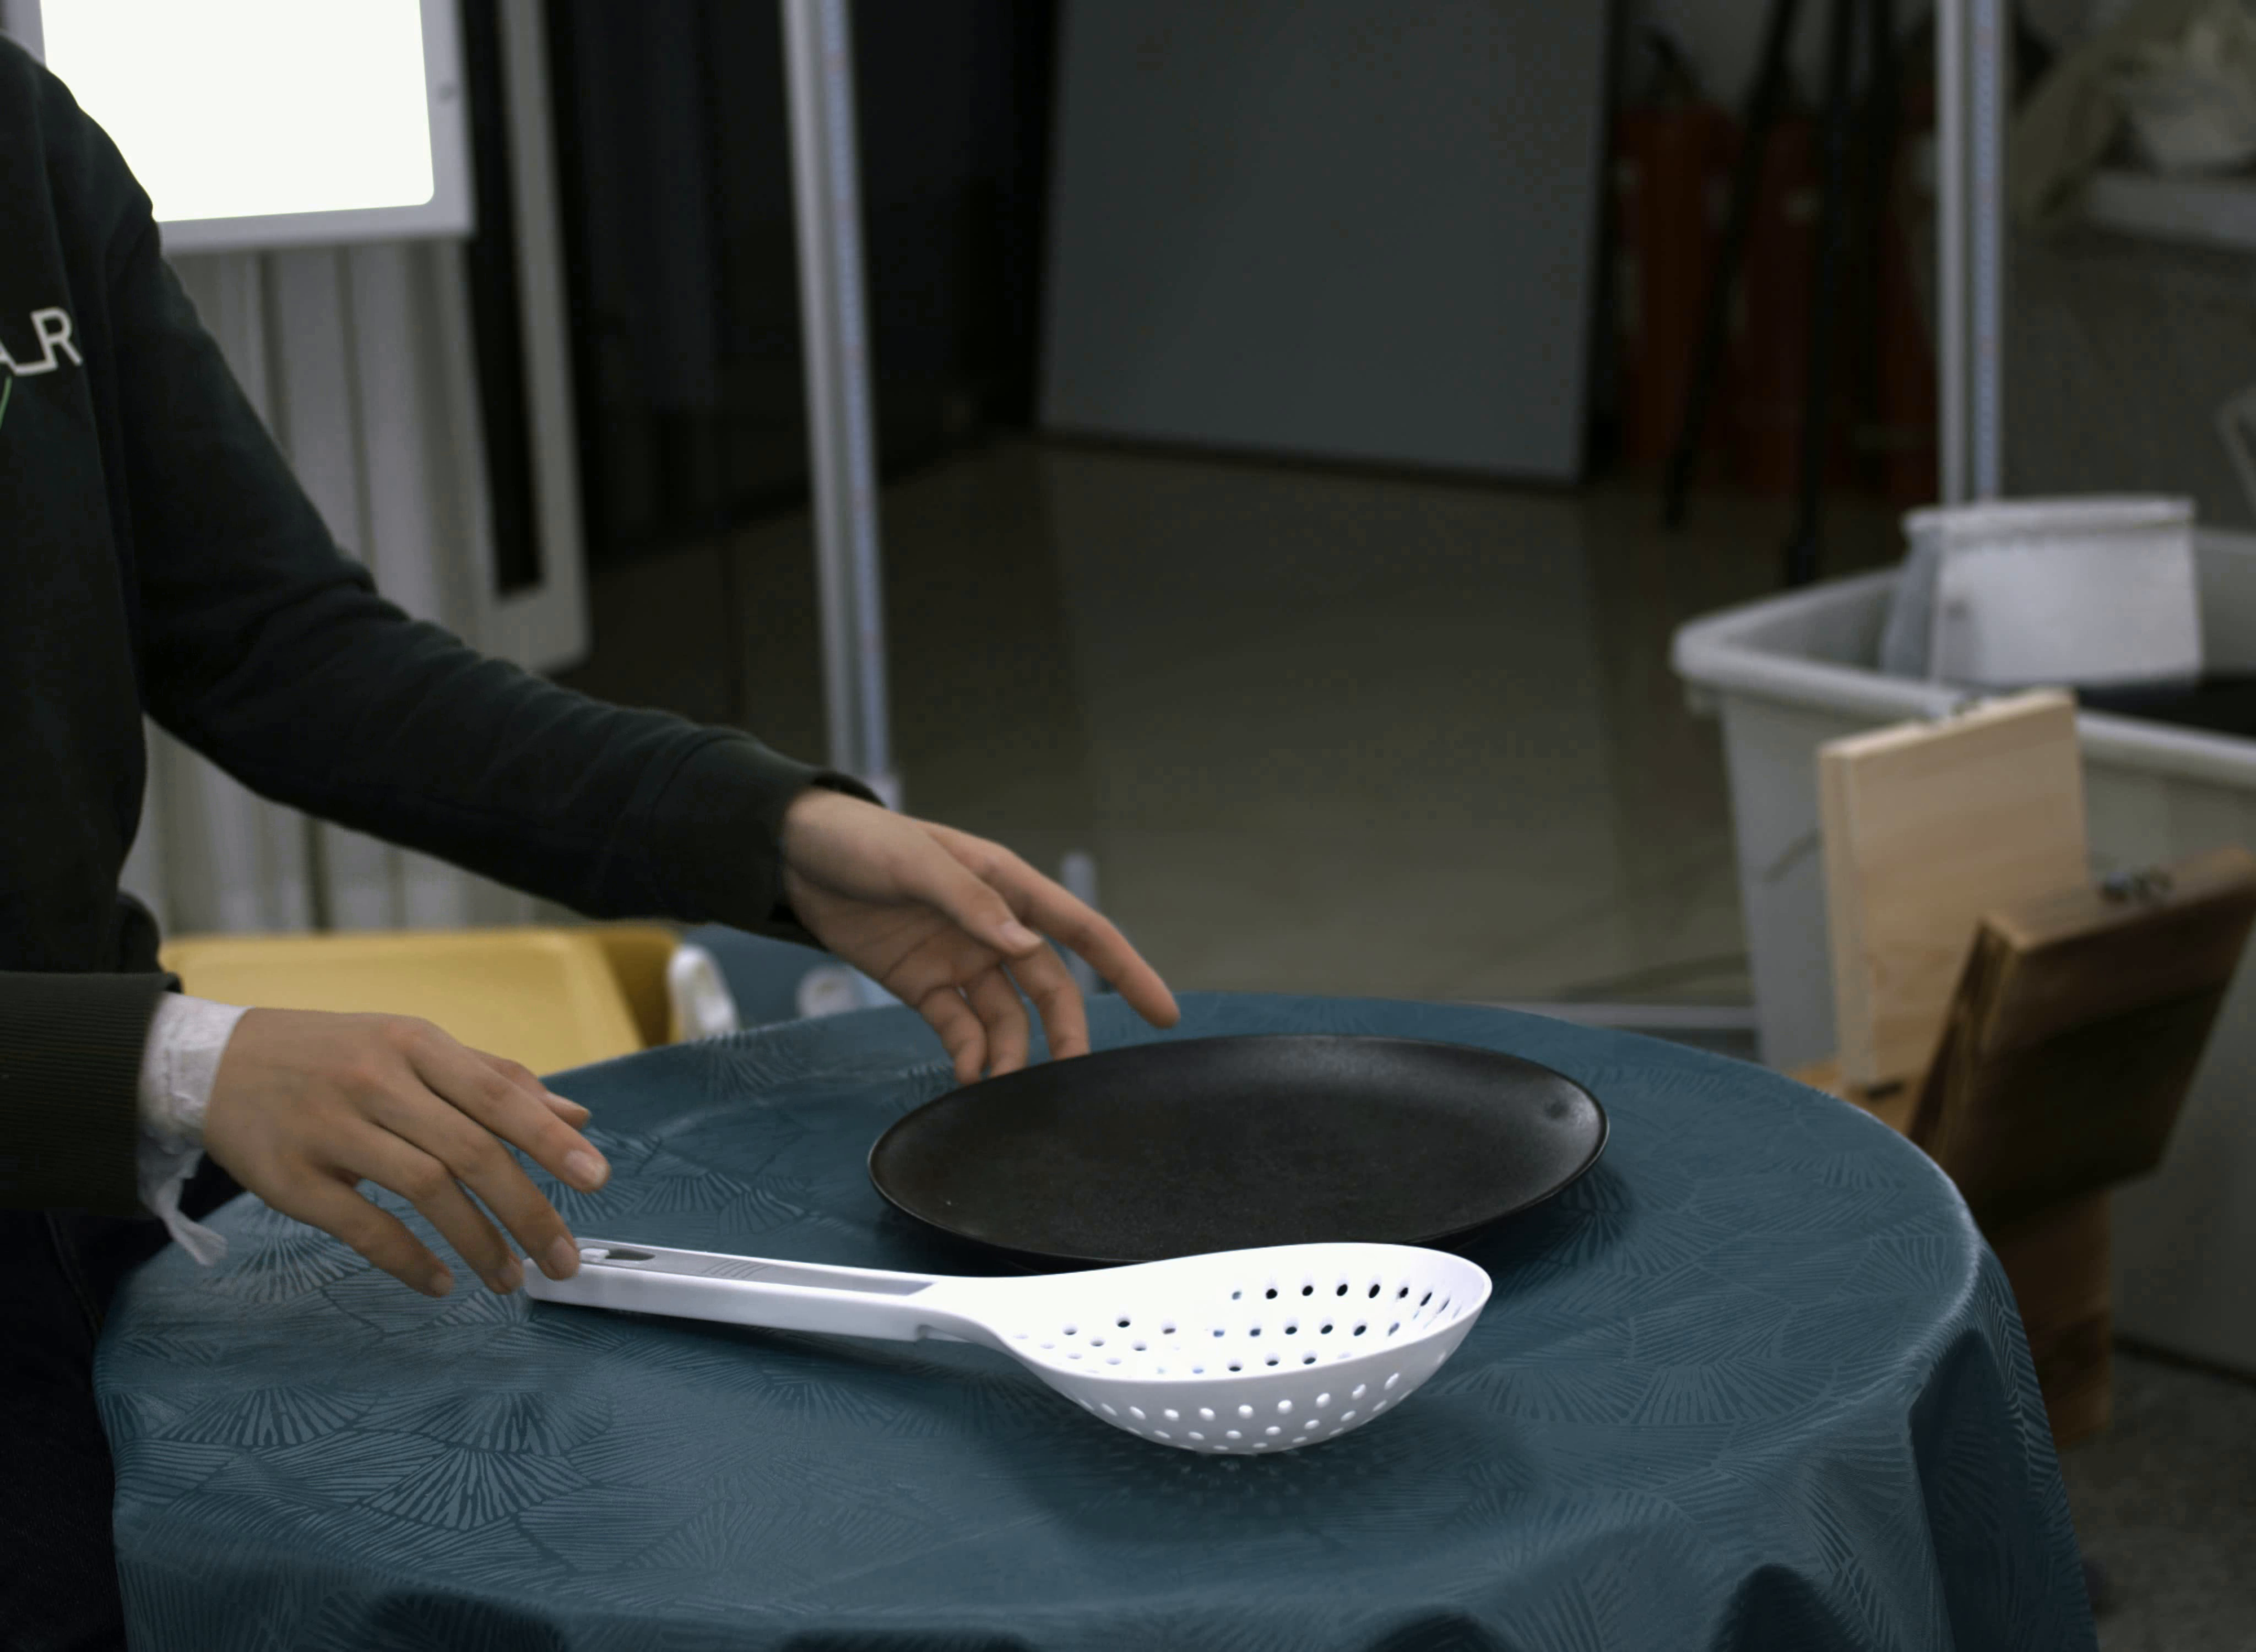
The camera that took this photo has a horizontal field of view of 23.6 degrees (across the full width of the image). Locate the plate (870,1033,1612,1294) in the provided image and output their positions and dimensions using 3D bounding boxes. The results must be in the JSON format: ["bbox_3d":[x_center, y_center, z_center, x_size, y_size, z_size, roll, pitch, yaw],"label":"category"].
[{"bbox_3d":[0.037,0.112,1.748,0.241,0.024,0.245,-4,14,0],"label":"plate"}]

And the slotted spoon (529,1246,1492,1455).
[{"bbox_3d":[-0.047,0.144,1.599,0.352,0.046,0.133,6,15,38],"label":"slotted spoon"}]
